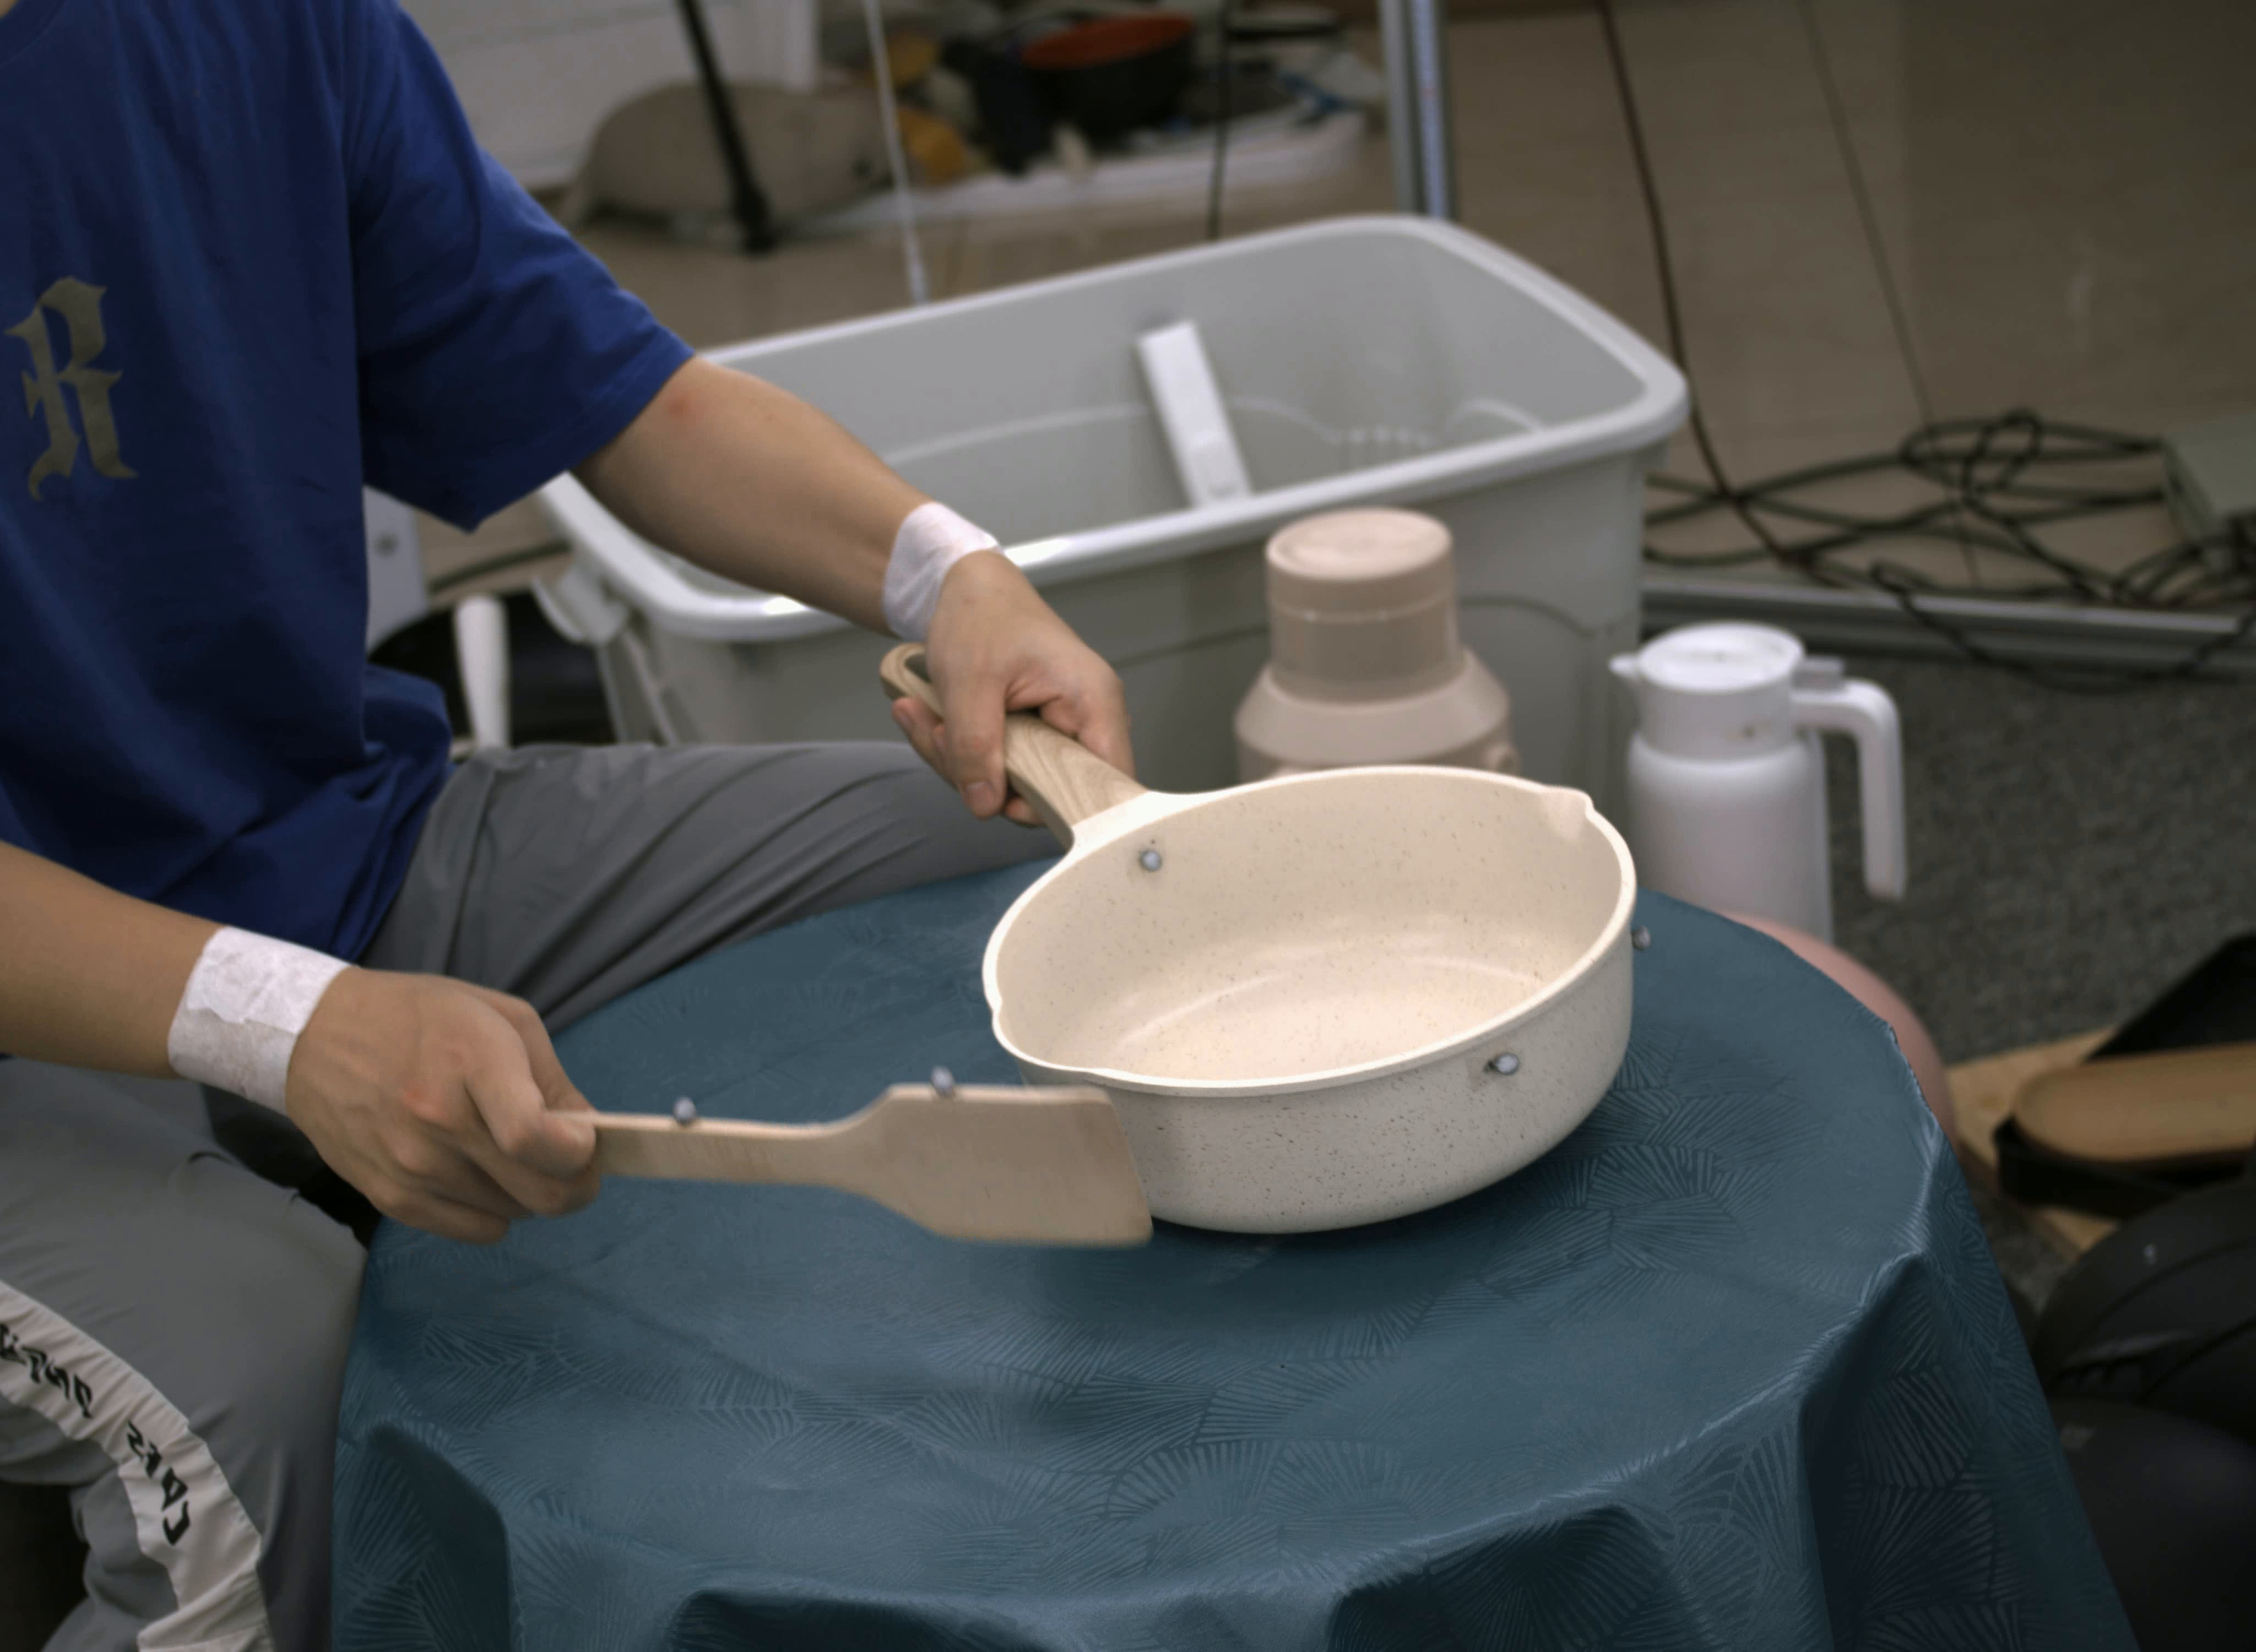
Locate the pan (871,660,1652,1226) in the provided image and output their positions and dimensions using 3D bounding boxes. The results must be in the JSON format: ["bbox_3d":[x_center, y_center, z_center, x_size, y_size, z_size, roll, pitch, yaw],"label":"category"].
[{"bbox_3d":[0.030,0.035,2.232,0.261,0.103,0.430,-26,30,-25],"label":"pan"}]

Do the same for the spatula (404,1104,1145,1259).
[{"bbox_3d":[-0.134,0.121,2.044,0.292,0.073,0.010,2,42,24],"label":"spatula"}]
